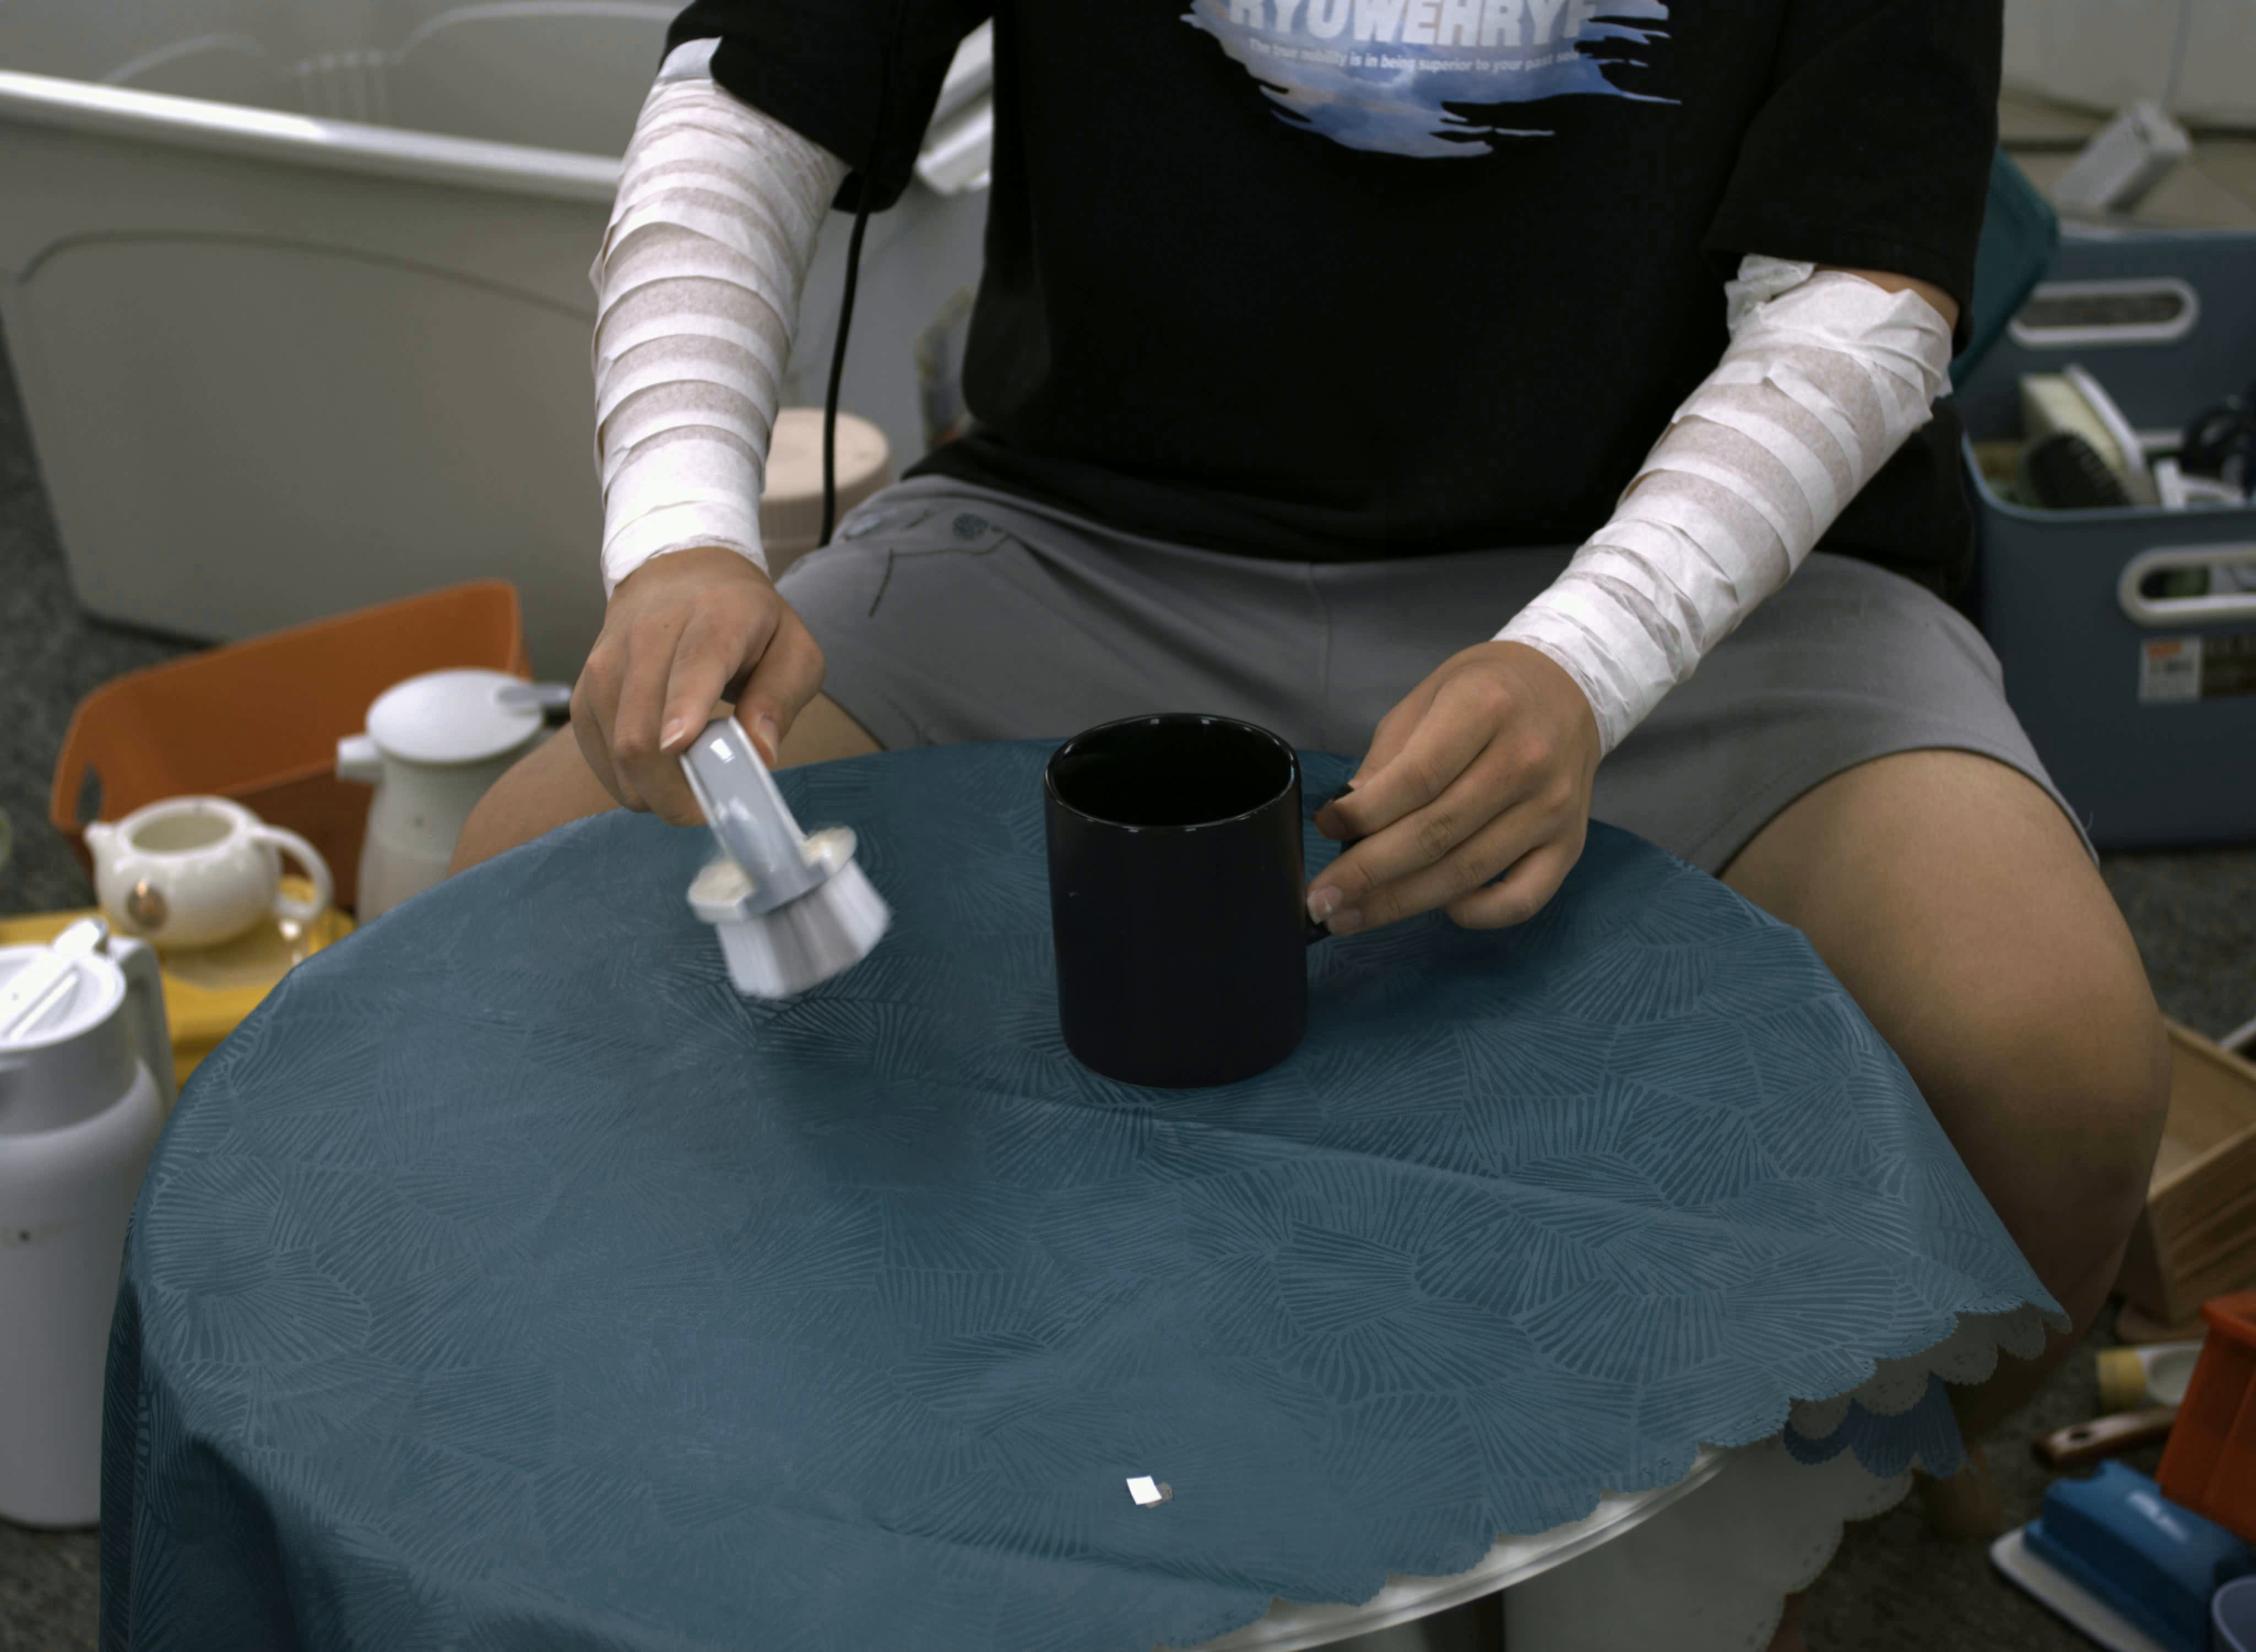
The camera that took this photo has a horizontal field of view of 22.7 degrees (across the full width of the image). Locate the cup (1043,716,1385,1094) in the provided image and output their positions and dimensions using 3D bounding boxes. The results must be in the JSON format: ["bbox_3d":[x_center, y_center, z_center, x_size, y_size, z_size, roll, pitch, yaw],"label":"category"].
[{"bbox_3d":[0.033,0.023,1.941,0.124,0.104,0.089,-15,25,-25],"label":"cup"}]

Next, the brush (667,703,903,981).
[{"bbox_3d":[-0.120,0.002,1.909,0.061,0.094,0.175,-32,8,-3],"label":"brush"}]
